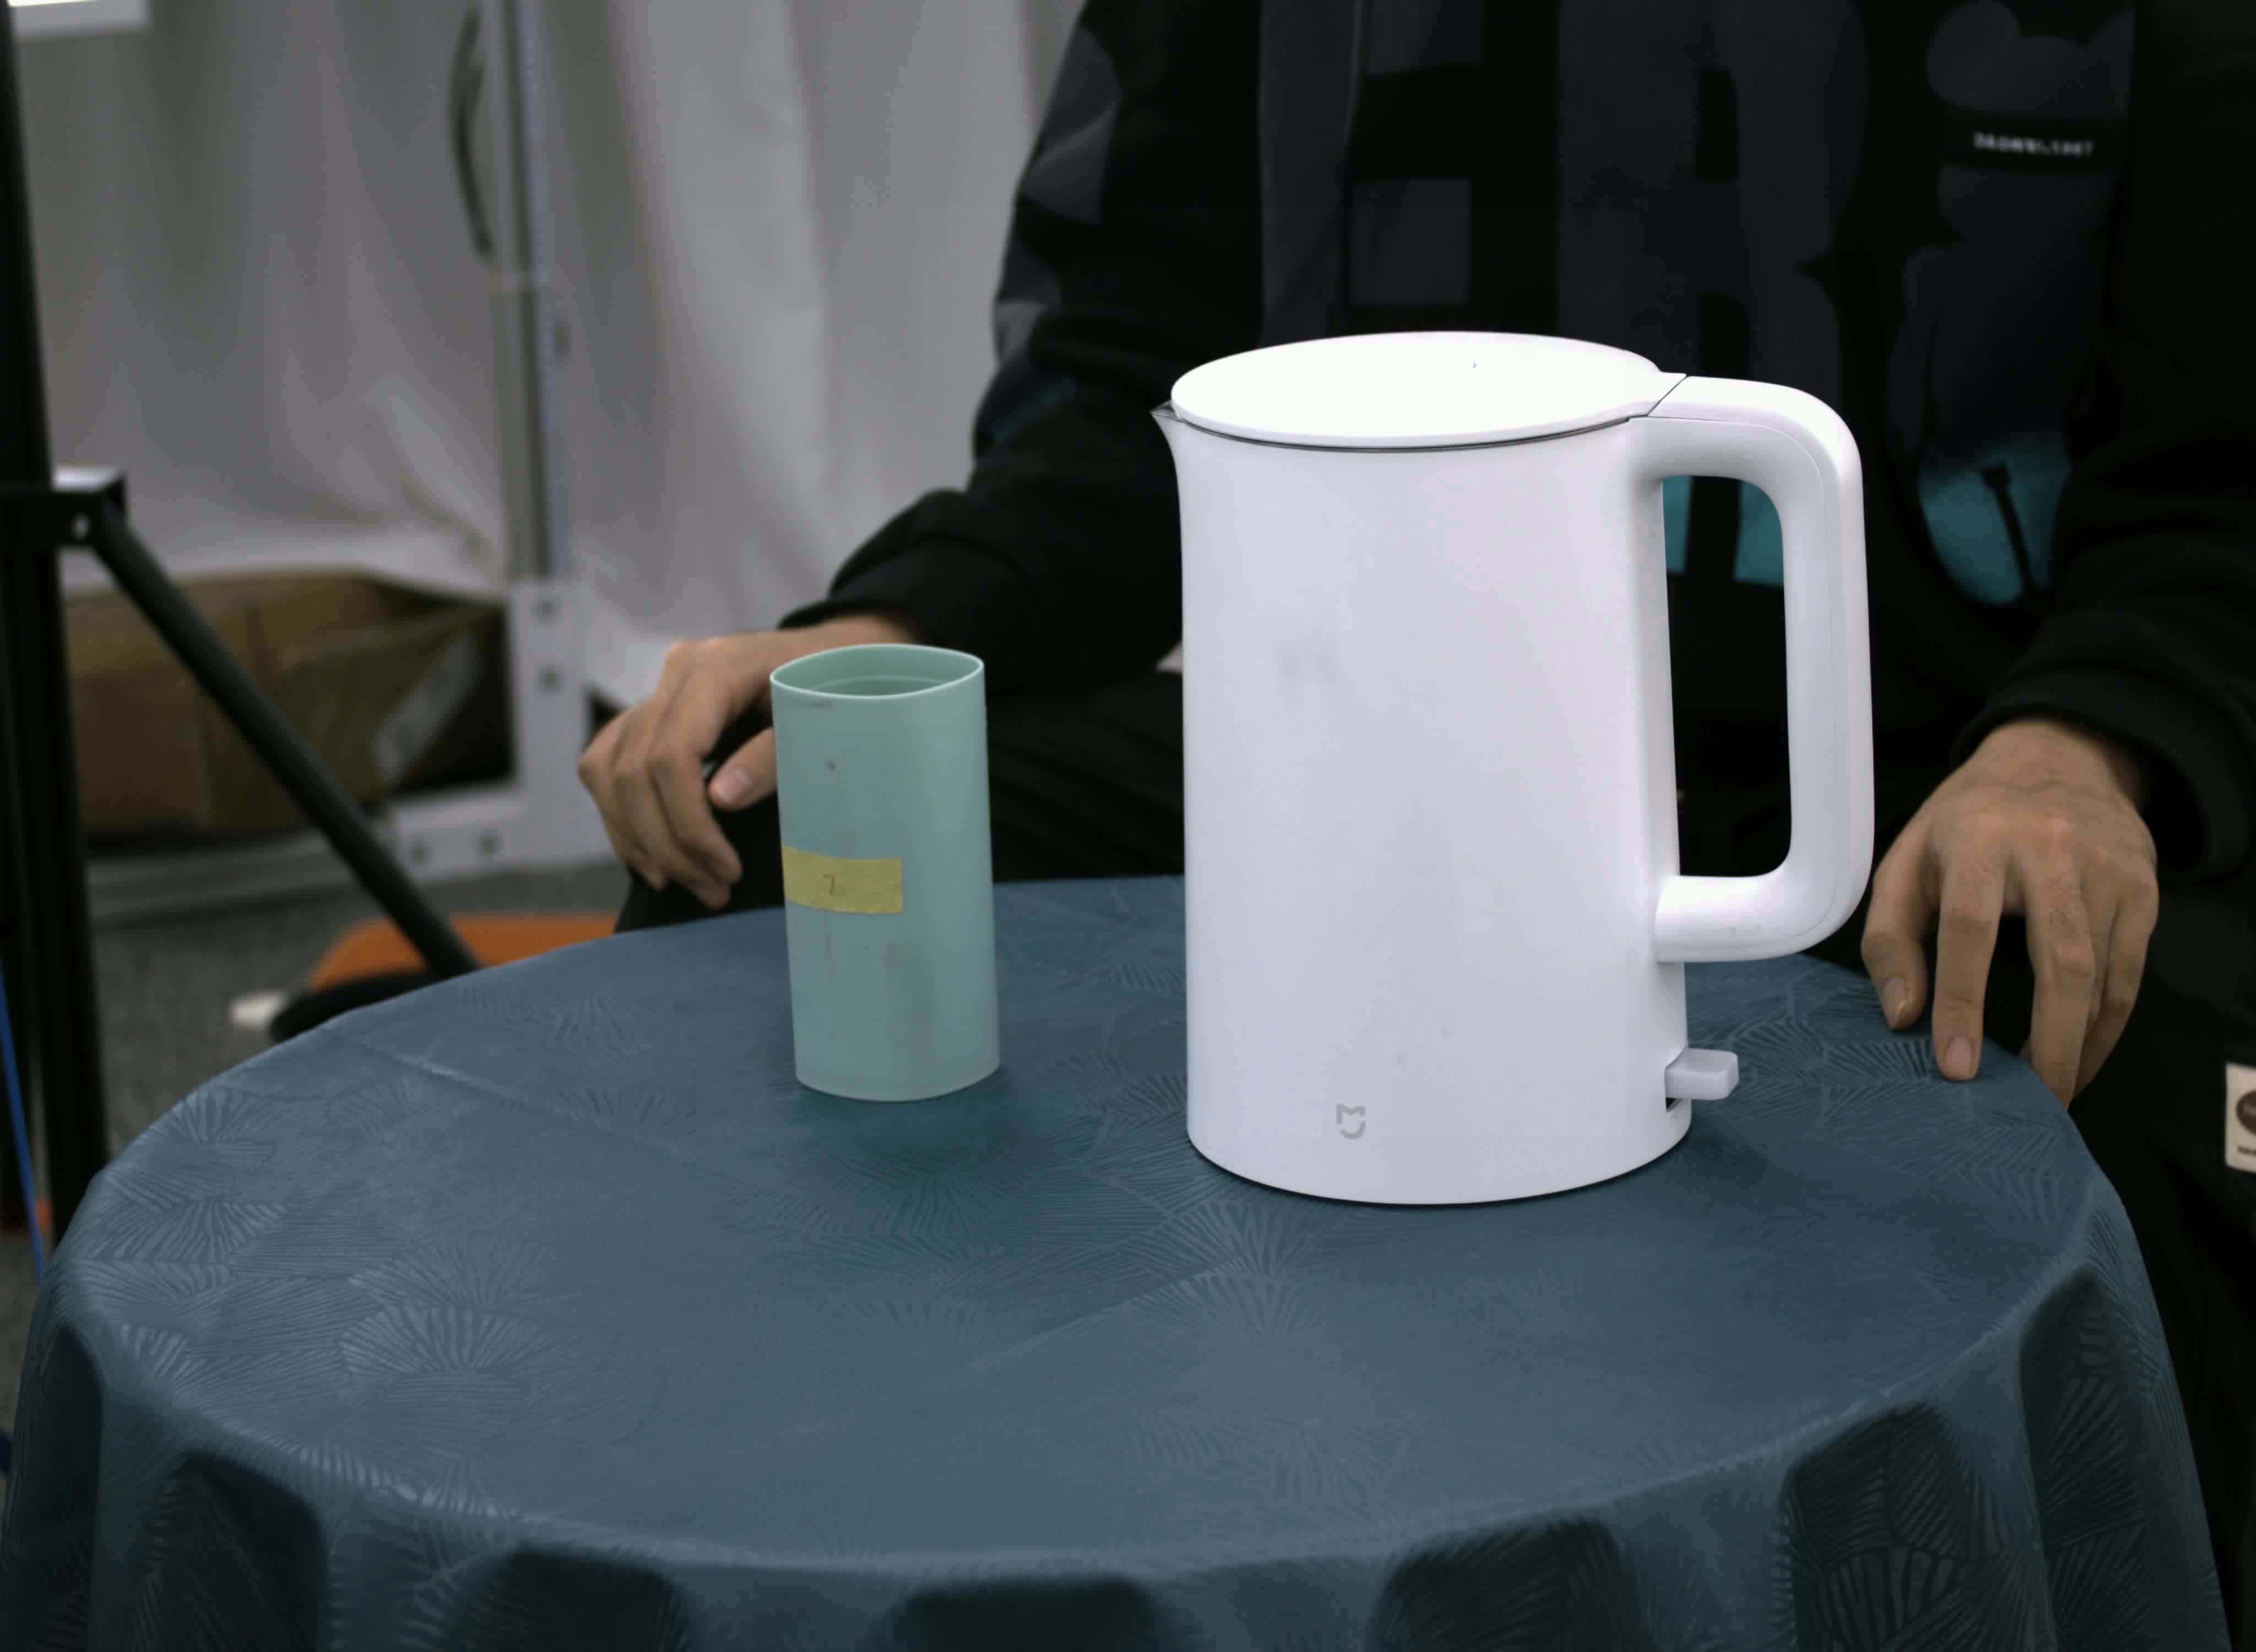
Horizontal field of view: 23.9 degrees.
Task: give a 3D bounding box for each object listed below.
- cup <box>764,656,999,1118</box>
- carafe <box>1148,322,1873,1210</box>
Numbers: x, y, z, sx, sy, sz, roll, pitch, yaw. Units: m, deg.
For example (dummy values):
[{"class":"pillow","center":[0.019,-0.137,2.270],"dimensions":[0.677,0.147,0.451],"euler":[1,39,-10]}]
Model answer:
[{"class":"cup","center":[-0.075,0.018,1.662],"dimensions":[0.066,0.132,0.067],"euler":[-4,15,0]},{"class":"carafe","center":[0.112,-0.018,1.560],"dimensions":[0.216,0.240,0.150],"euler":[3,17,22]}]
